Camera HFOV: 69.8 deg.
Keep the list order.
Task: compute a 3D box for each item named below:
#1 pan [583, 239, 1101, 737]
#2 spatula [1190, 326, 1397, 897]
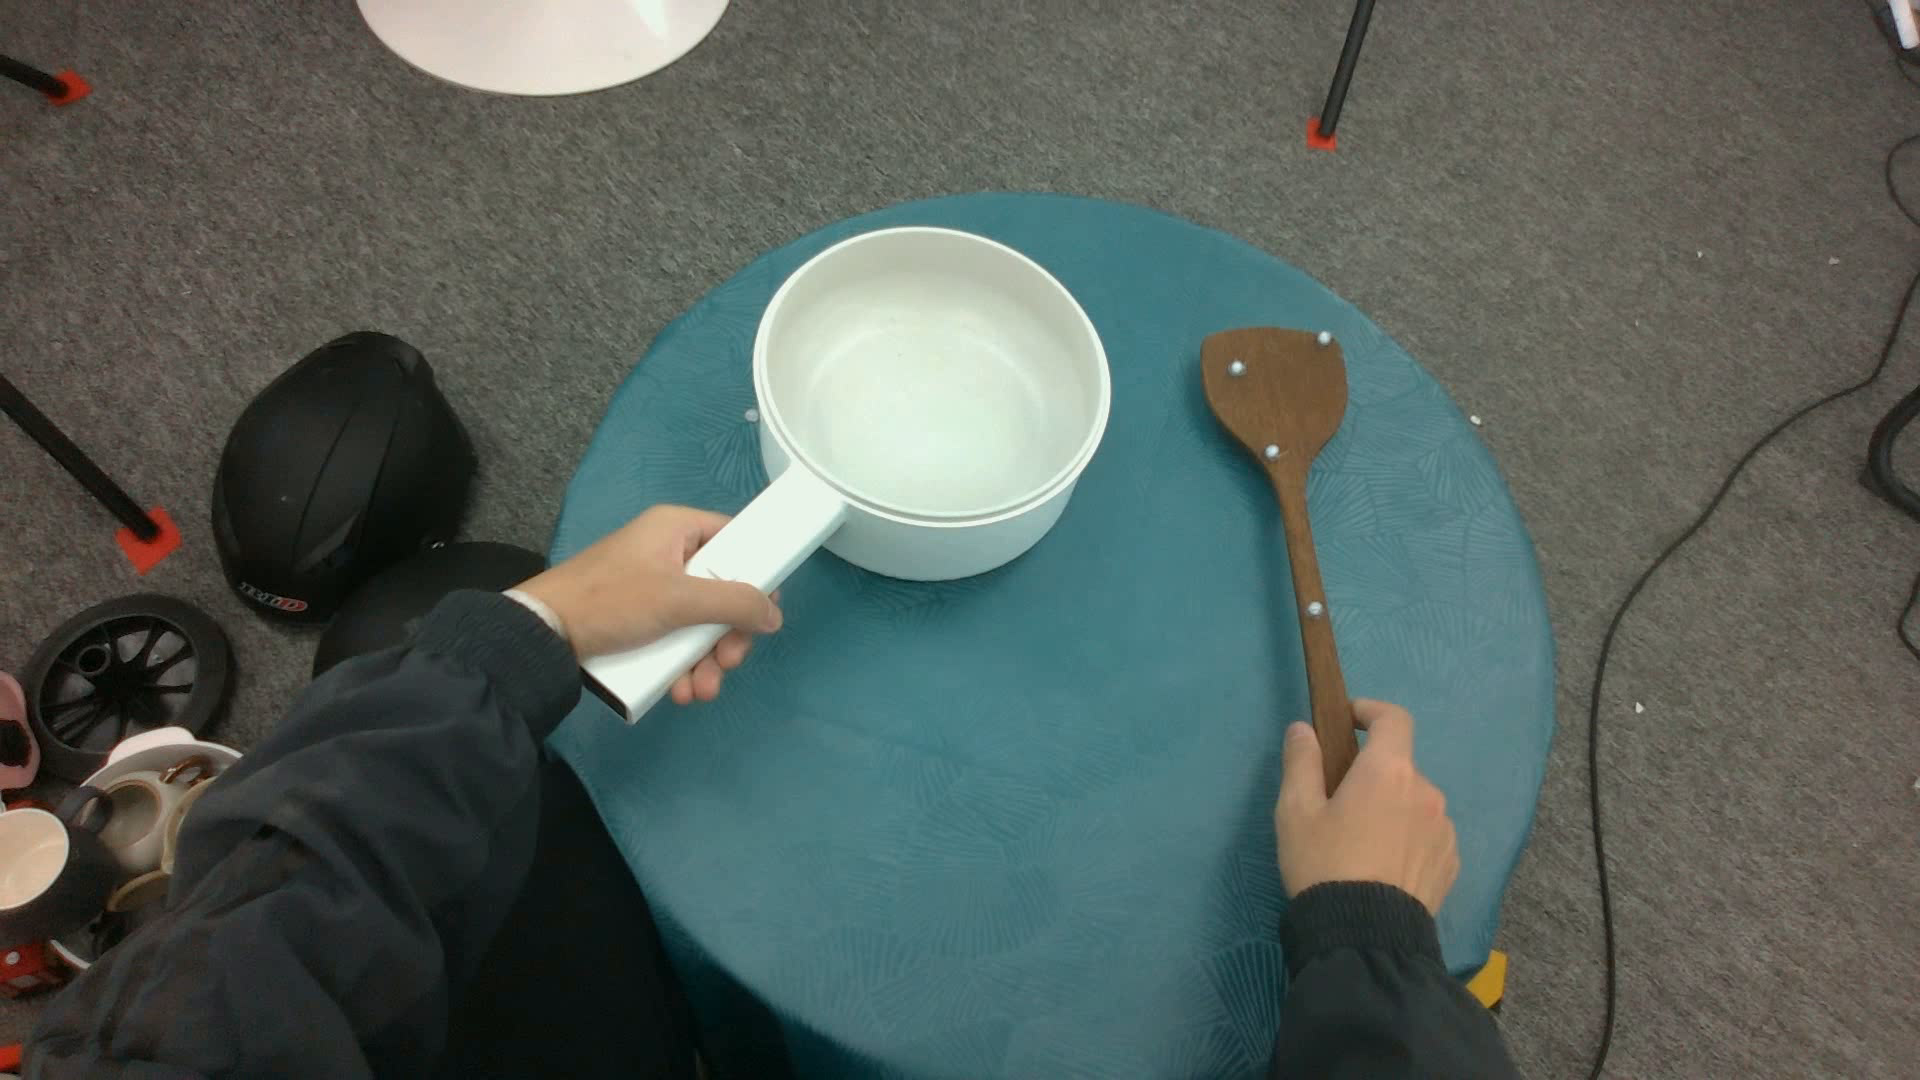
[{"bbox_3d":[-0.069,-0.019,0.789,0.201,0.101,0.356,35,64,12],"label":"pan"},{"bbox_3d":[0.207,0.021,0.819,0.096,0.016,0.387,-2,57,-2],"label":"spatula"}]
